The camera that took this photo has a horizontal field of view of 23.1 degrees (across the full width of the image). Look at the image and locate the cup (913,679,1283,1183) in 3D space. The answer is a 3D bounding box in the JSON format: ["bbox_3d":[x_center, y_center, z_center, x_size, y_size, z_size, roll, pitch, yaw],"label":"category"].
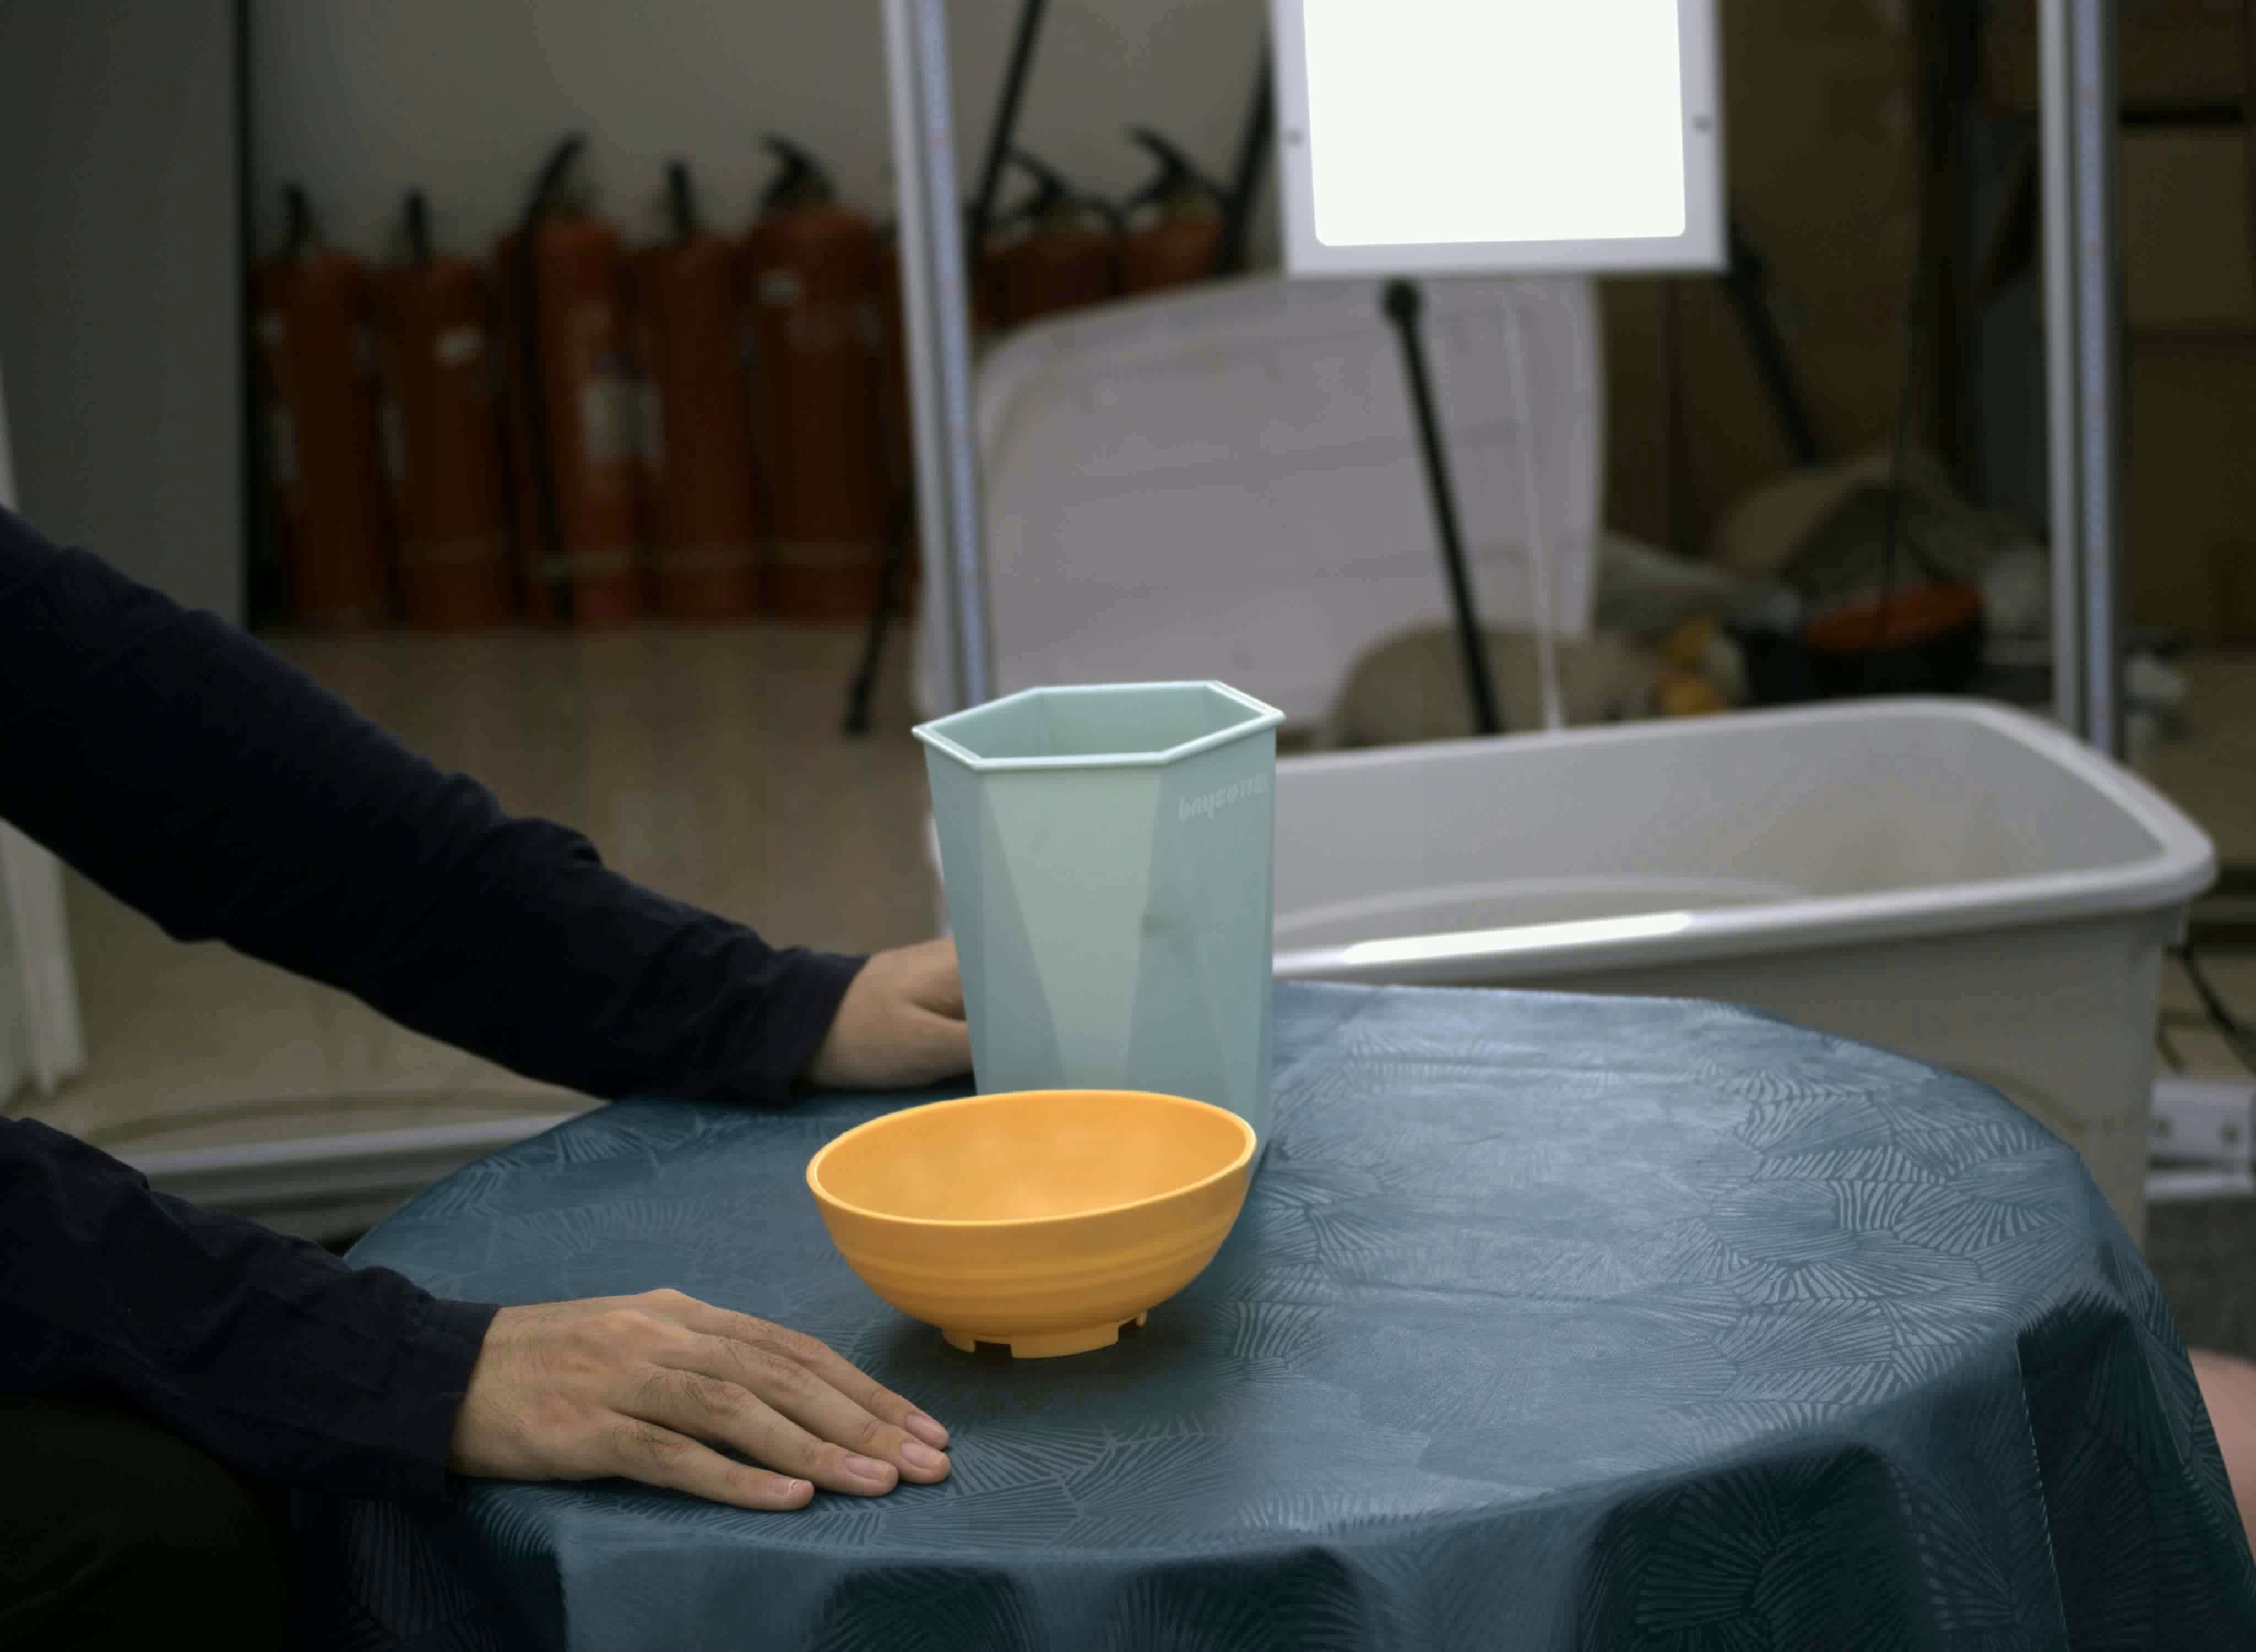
[{"bbox_3d":[-0.003,0.040,1.912,0.117,0.163,0.128,5,16,39],"label":"cup"}]

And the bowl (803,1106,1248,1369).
[{"bbox_3d":[-0.030,0.135,1.761,0.145,0.060,0.145,-7,11,0],"label":"bowl"}]
